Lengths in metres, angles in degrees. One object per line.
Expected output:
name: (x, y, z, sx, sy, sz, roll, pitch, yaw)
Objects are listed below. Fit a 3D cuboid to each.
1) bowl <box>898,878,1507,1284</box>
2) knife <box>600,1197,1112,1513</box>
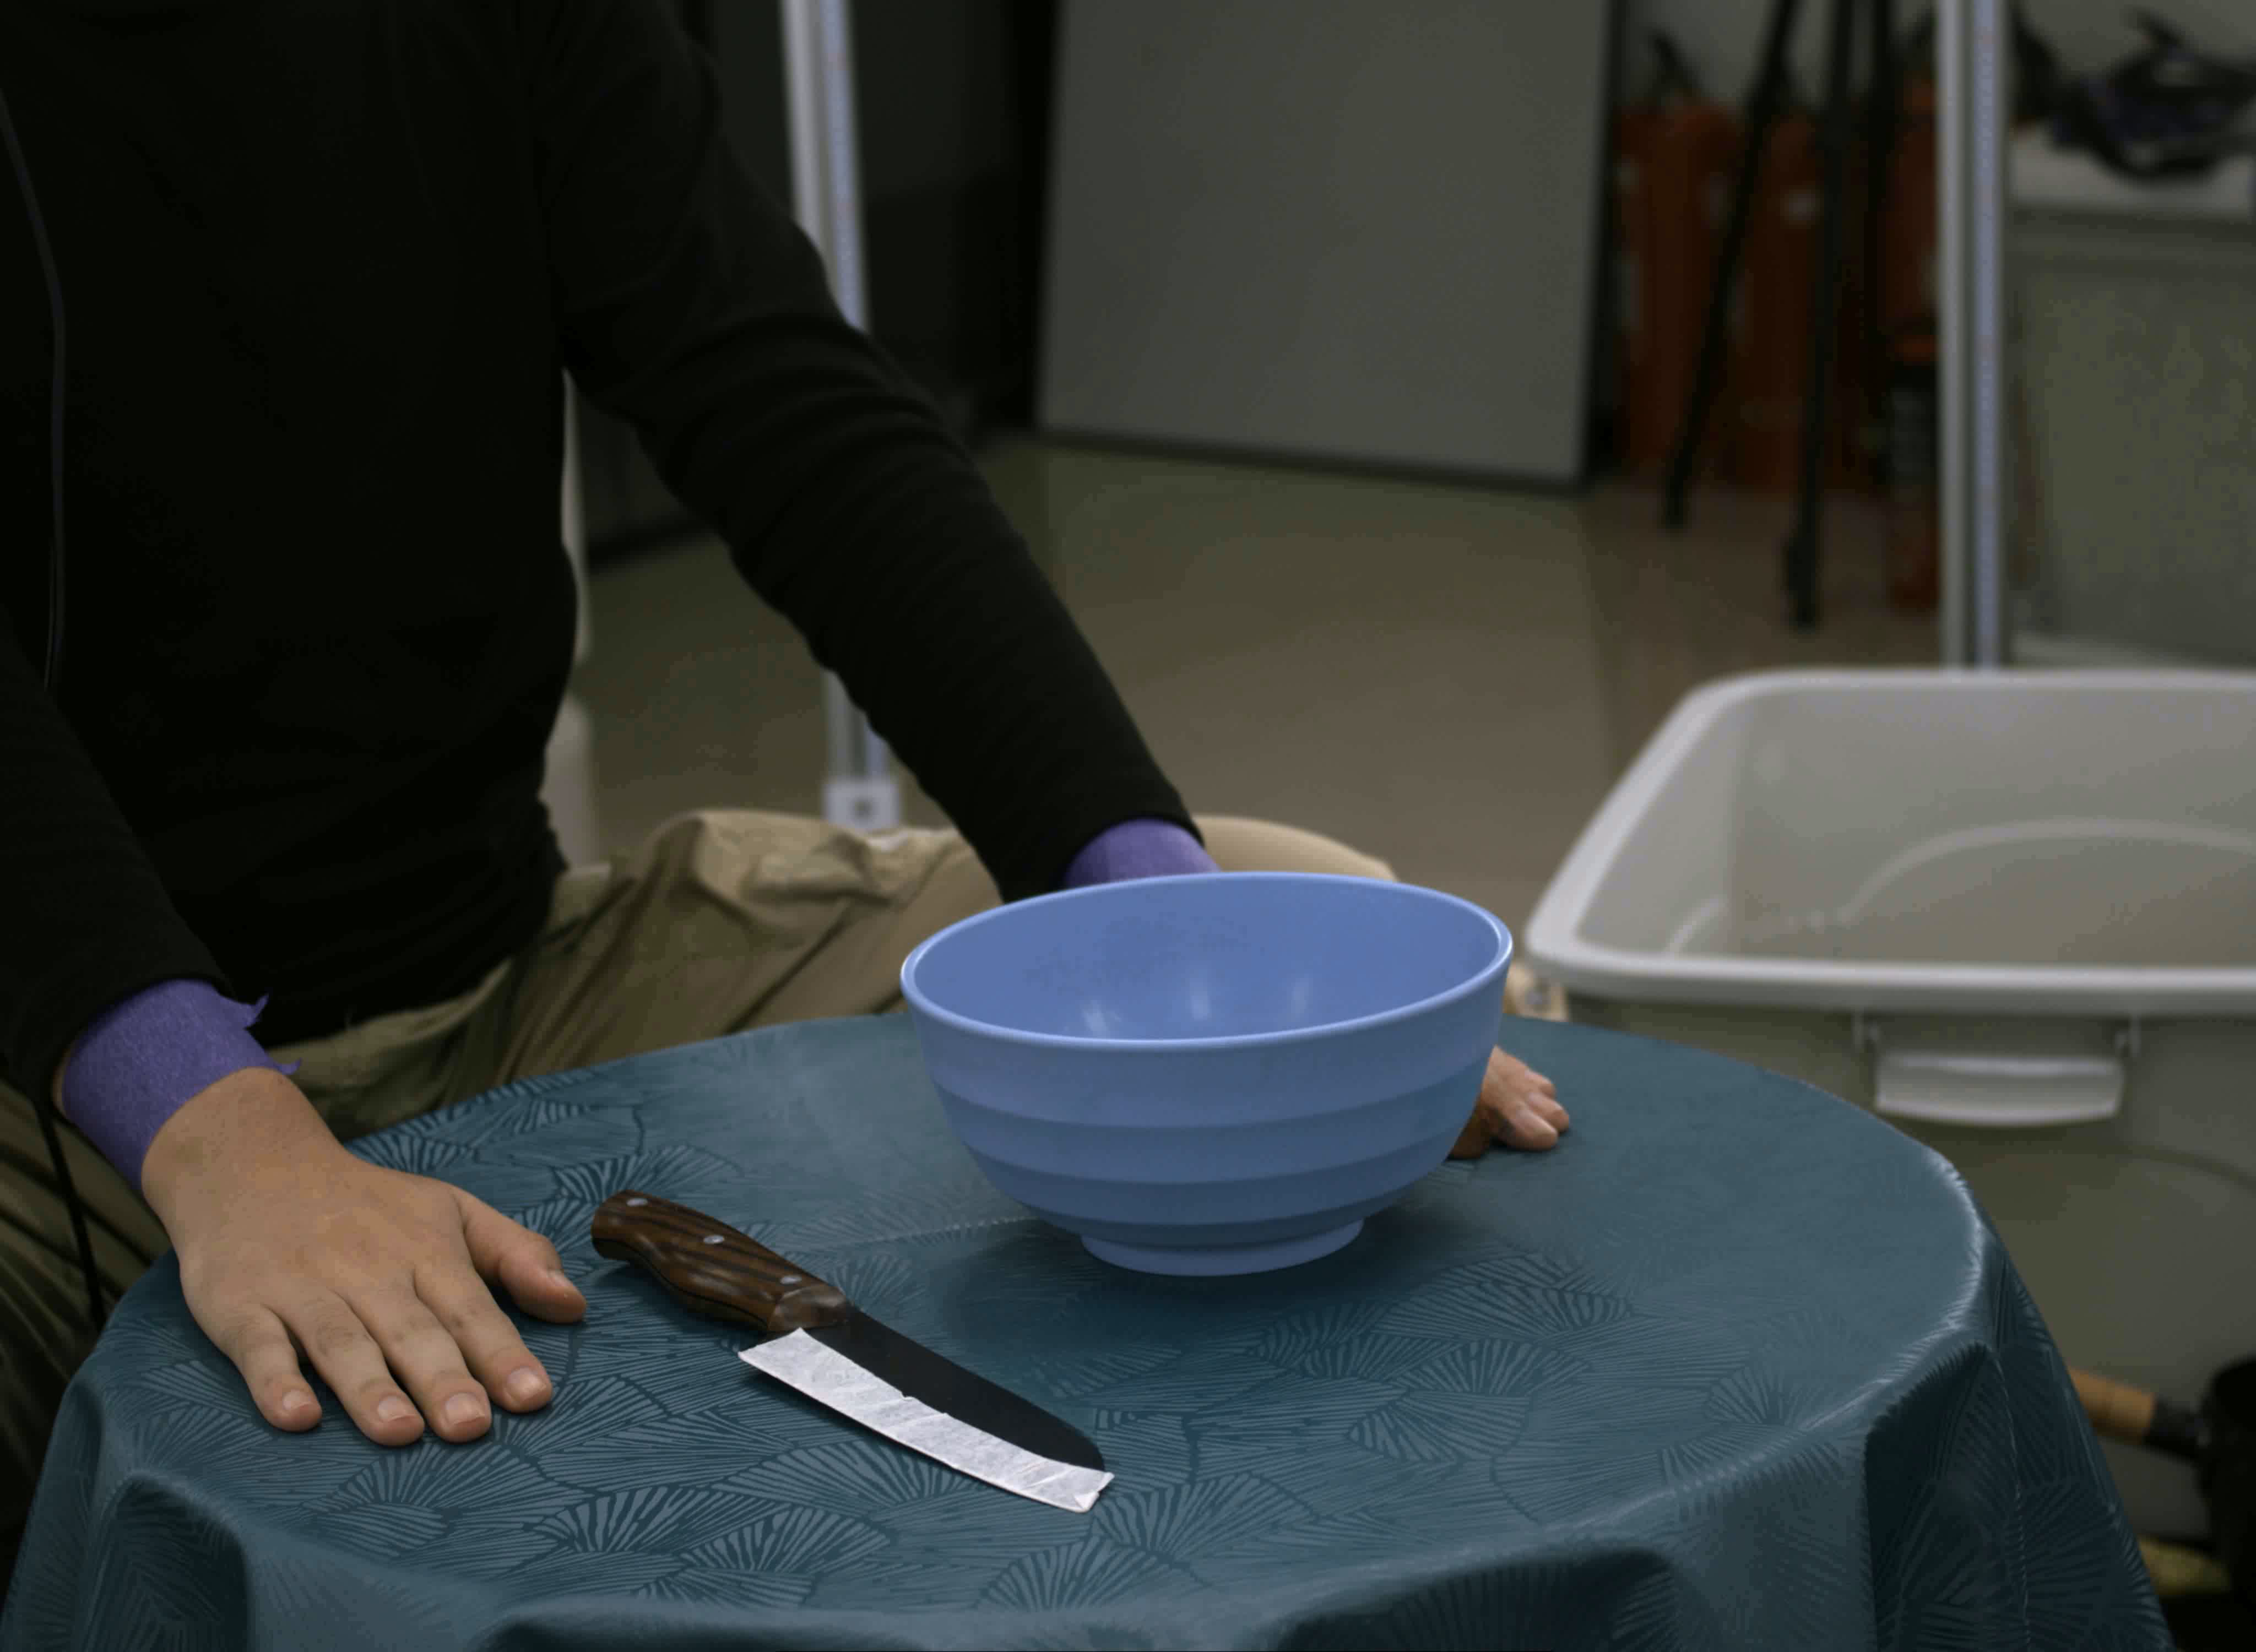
bowl: (0.027, 0.086, 1.717, 0.194, 0.096, 0.197, -6, 13, 0)
knife: (-0.085, 0.159, 1.618, 0.049, 0.020, 0.292, -18, 21, -28)
